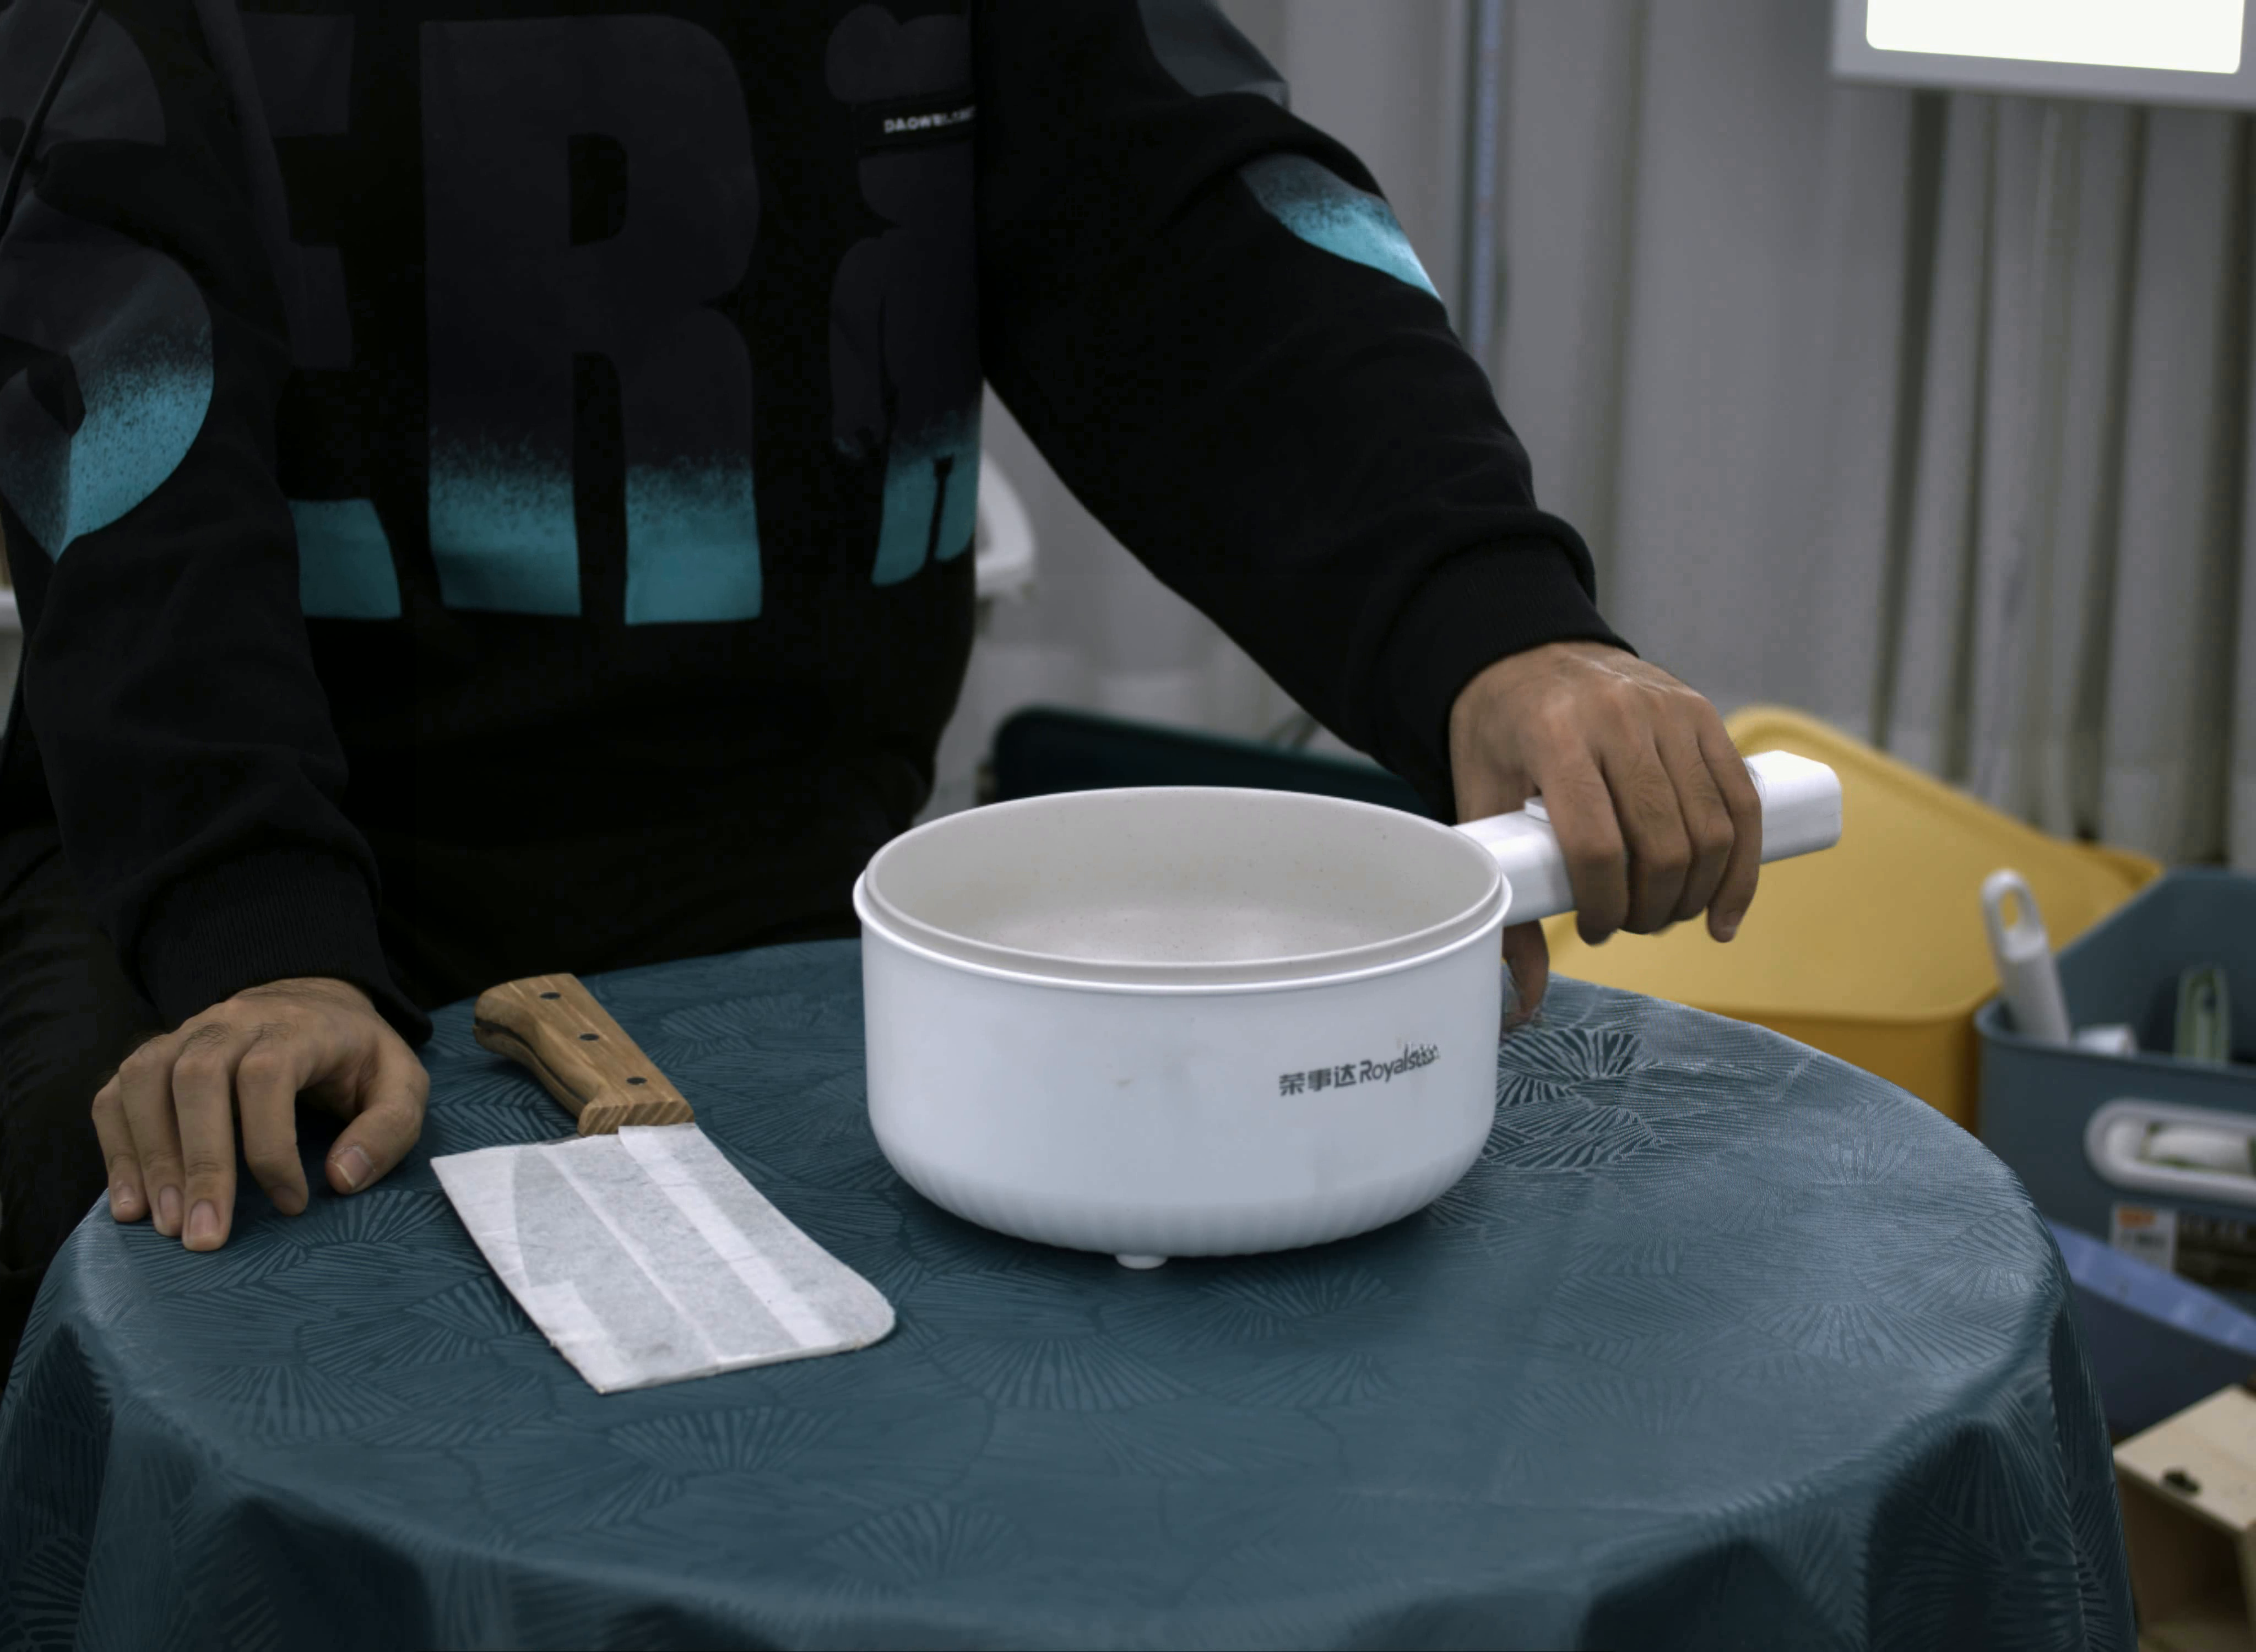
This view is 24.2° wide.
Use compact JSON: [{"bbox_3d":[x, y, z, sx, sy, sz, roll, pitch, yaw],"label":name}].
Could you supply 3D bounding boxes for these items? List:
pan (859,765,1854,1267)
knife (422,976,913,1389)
[{"bbox_3d":[0.081,0.052,1.659,0.356,0.103,0.198,-10,18,-34],"label":"pan"},{"bbox_3d":[-0.155,0.106,1.609,0.114,0.022,0.312,-5,19,-18],"label":"knife"}]
